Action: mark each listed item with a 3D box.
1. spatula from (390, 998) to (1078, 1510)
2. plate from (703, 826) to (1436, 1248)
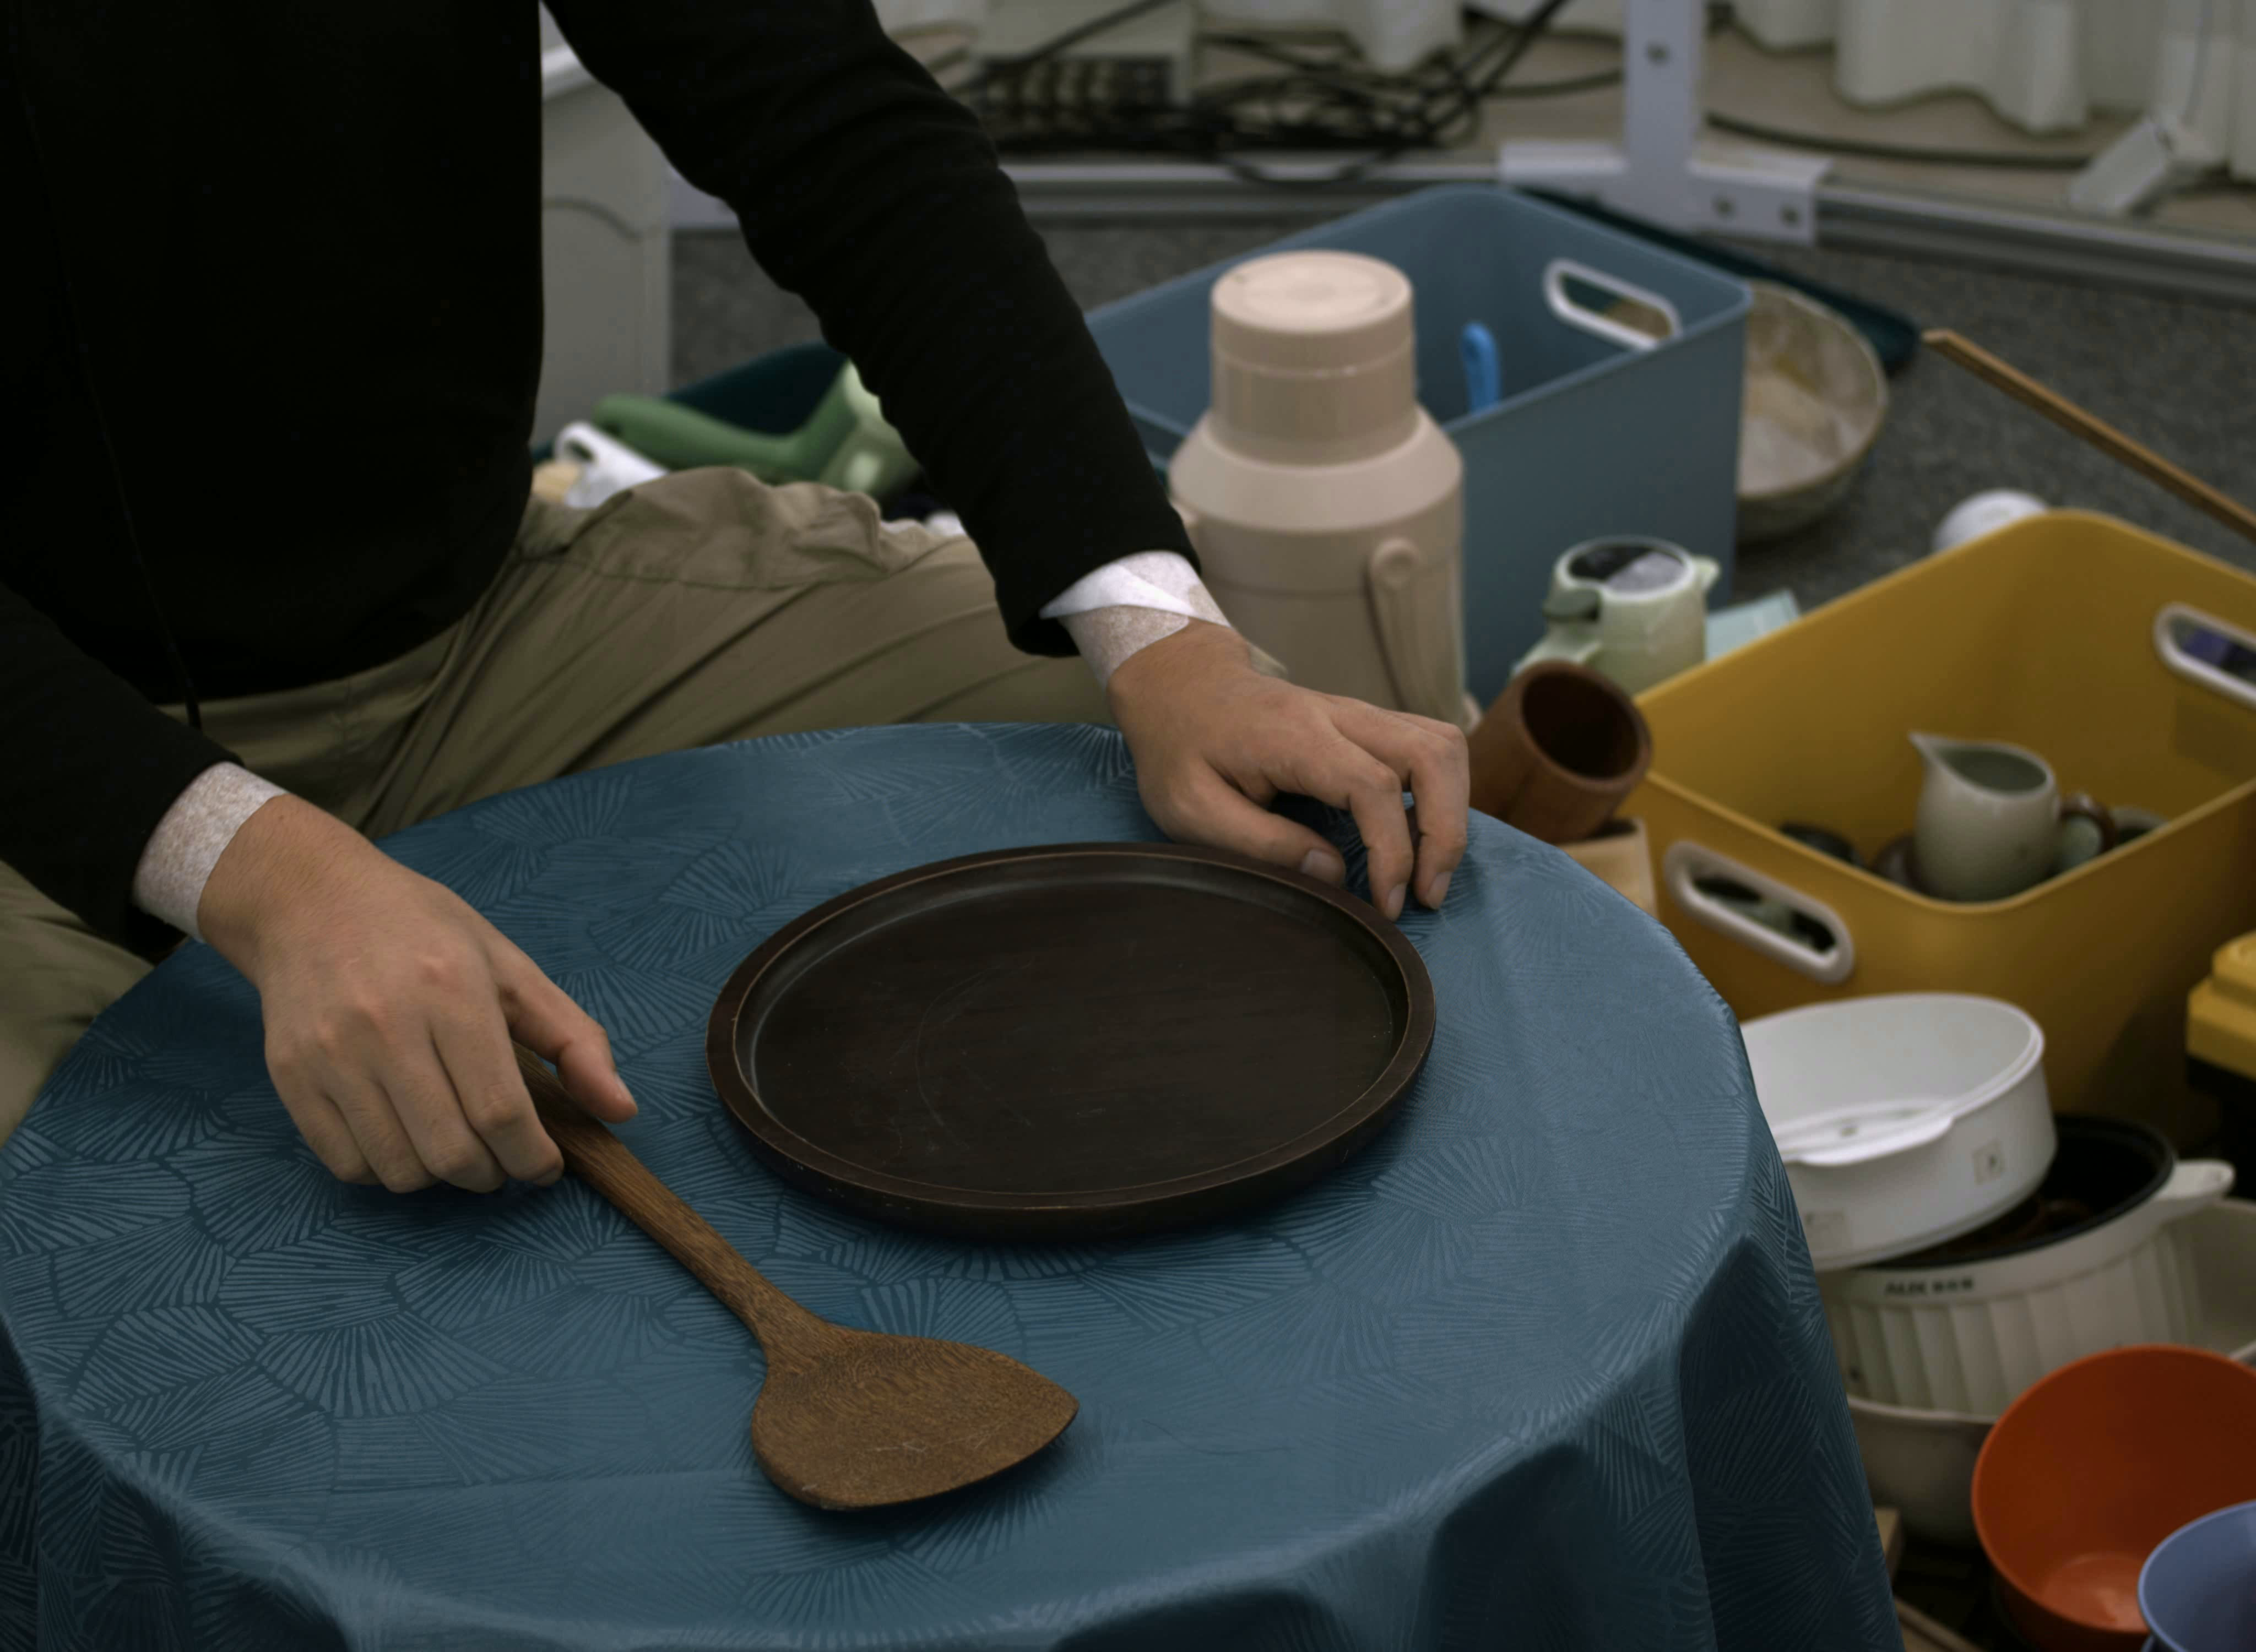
[{"bbox_3d":[-0.150,0.131,1.841,0.097,0.015,0.387,-18,31,-28],"label":"spatula"},{"bbox_3d":[-0.020,0.074,1.930,0.253,0.029,0.259,-3,28,2],"label":"plate"}]
